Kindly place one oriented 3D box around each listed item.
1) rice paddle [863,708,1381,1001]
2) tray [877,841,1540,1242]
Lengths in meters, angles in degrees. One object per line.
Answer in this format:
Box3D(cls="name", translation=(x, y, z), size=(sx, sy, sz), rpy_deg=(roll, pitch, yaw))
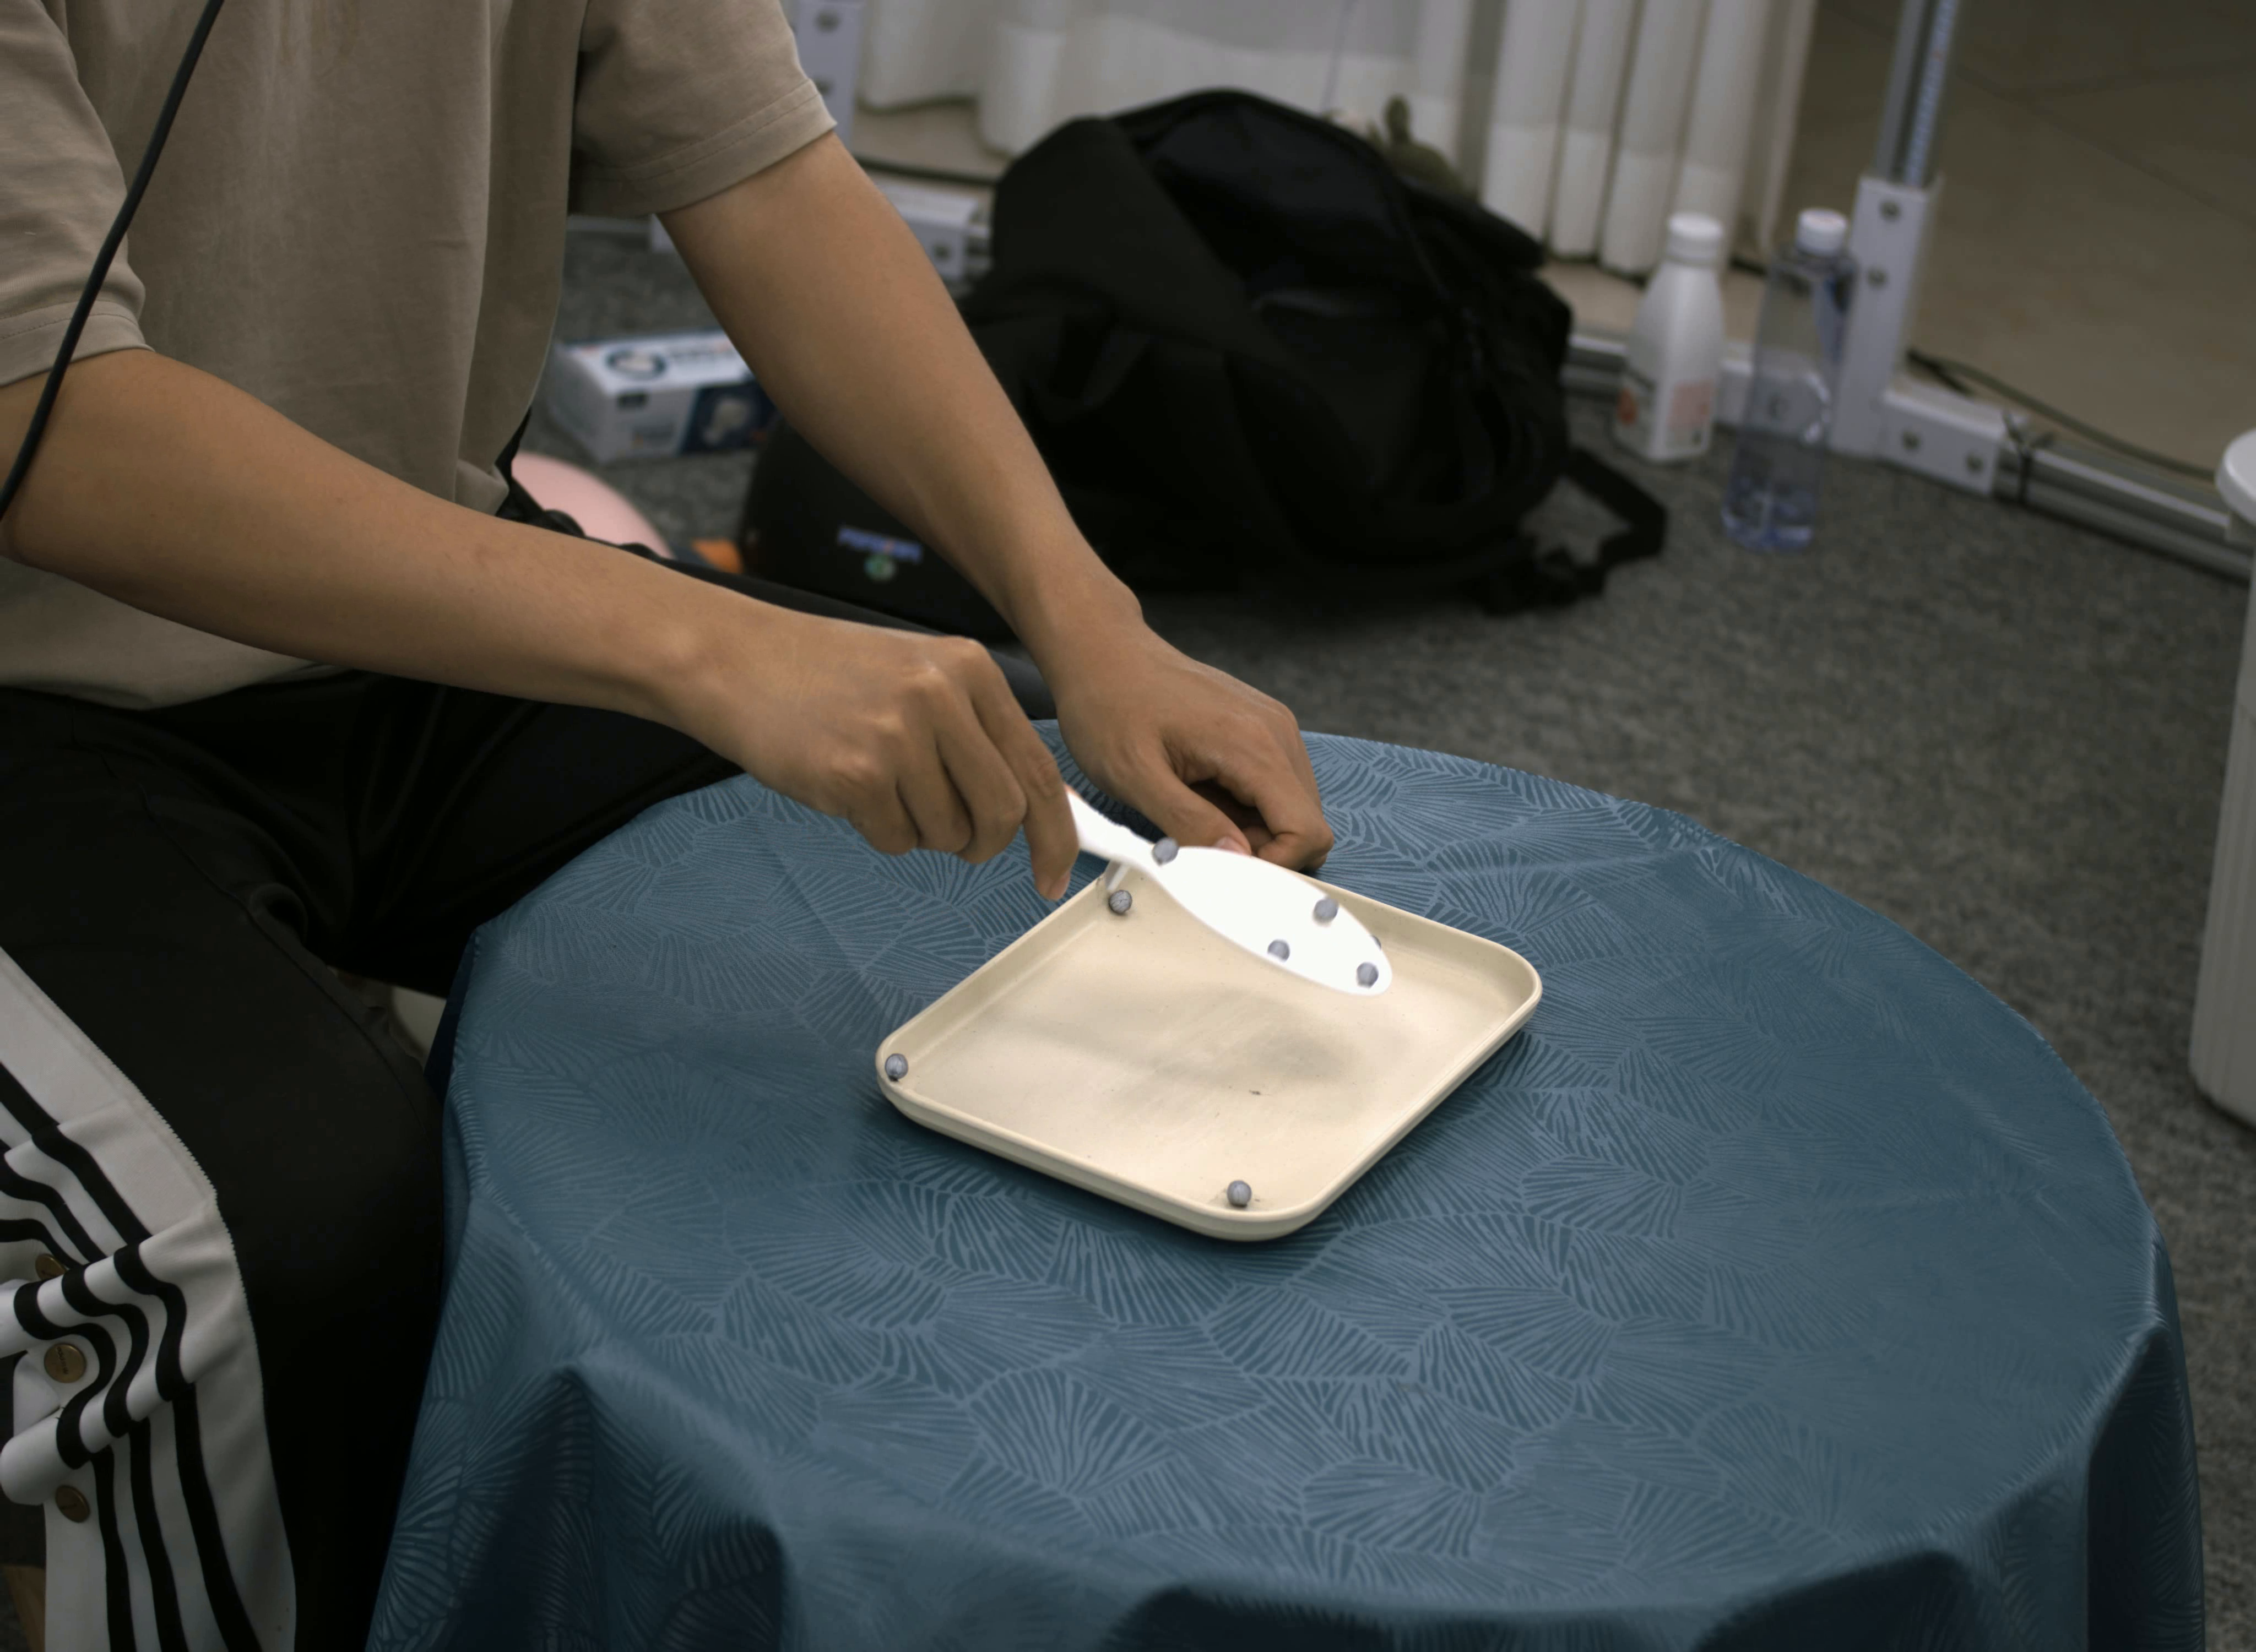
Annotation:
Box3D(cls="rice paddle", translation=(0.004, 0.012, 1.855), size=(0.204, 0.029, 0.069), rpy_deg=(24, 27, -19))
Box3D(cls="tray", translation=(0.031, 0.075, 1.887), size=(0.172, 0.017, 0.239), rpy_deg=(20, 29, 22))
